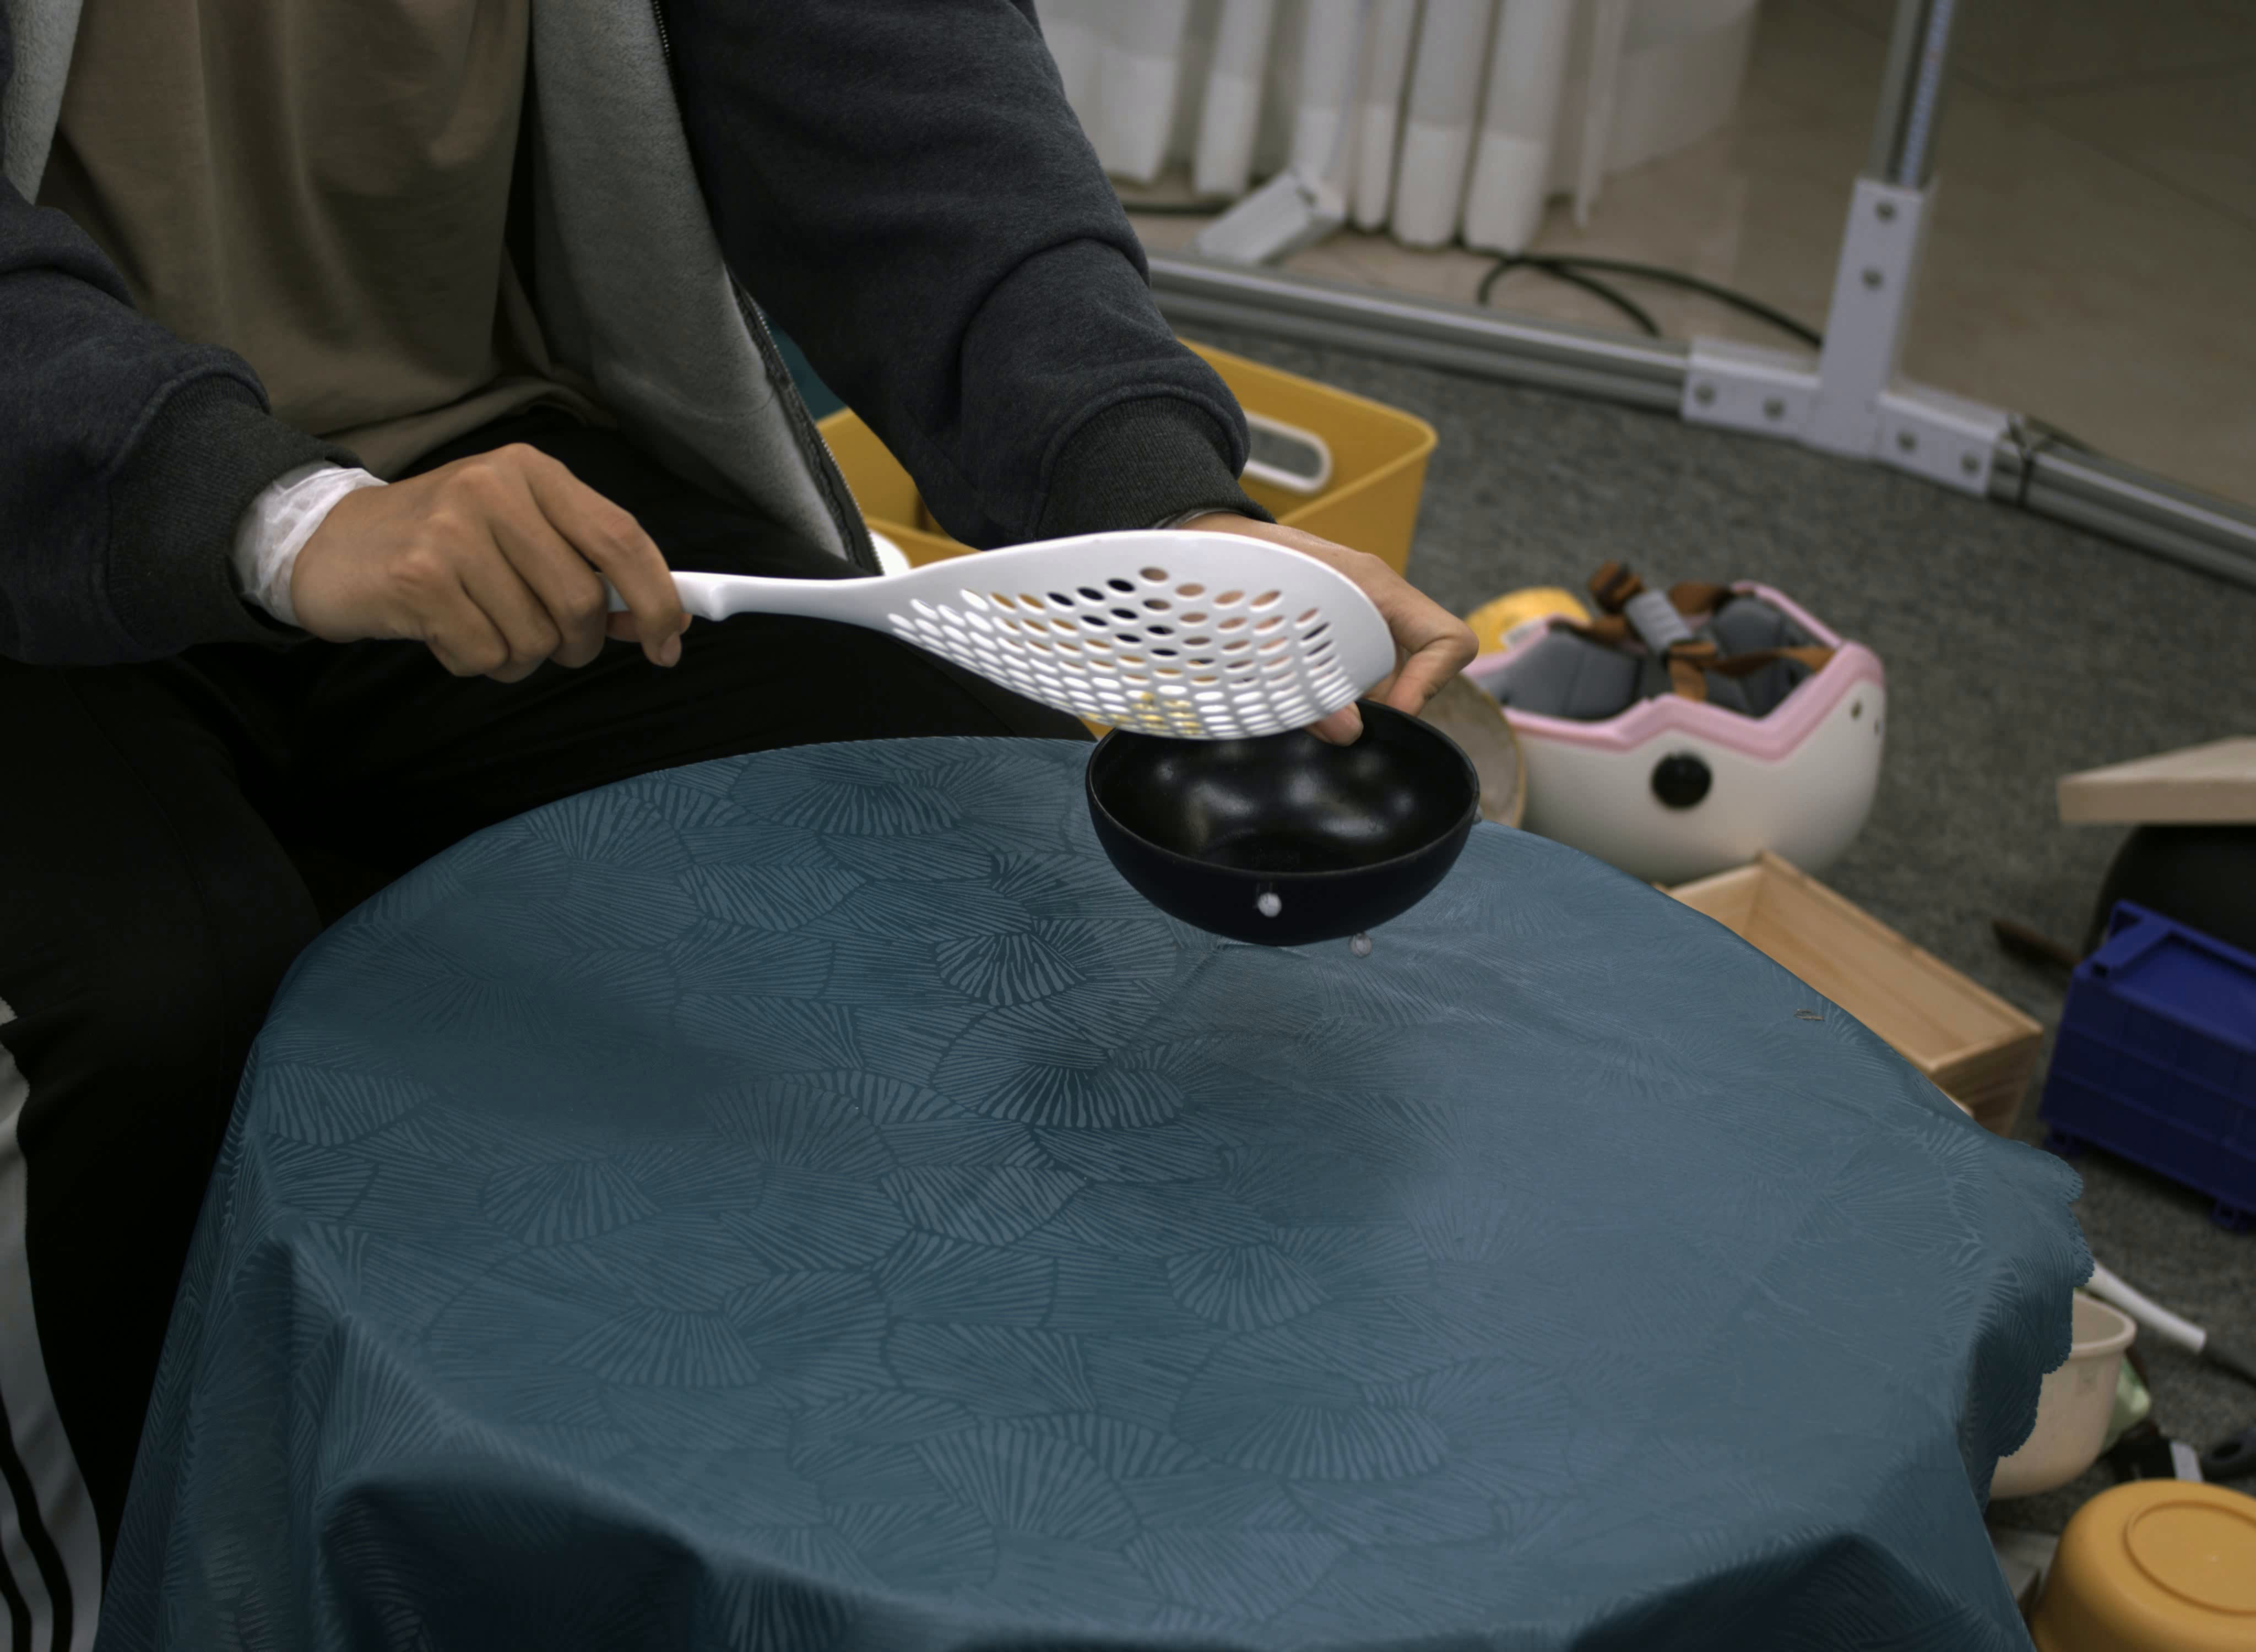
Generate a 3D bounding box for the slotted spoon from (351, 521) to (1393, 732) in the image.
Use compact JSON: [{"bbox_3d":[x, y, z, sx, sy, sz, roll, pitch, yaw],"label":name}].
[{"bbox_3d":[-0.087,-0.064,1.753,0.348,0.050,0.136,6,-18,15],"label":"slotted spoon"}]
